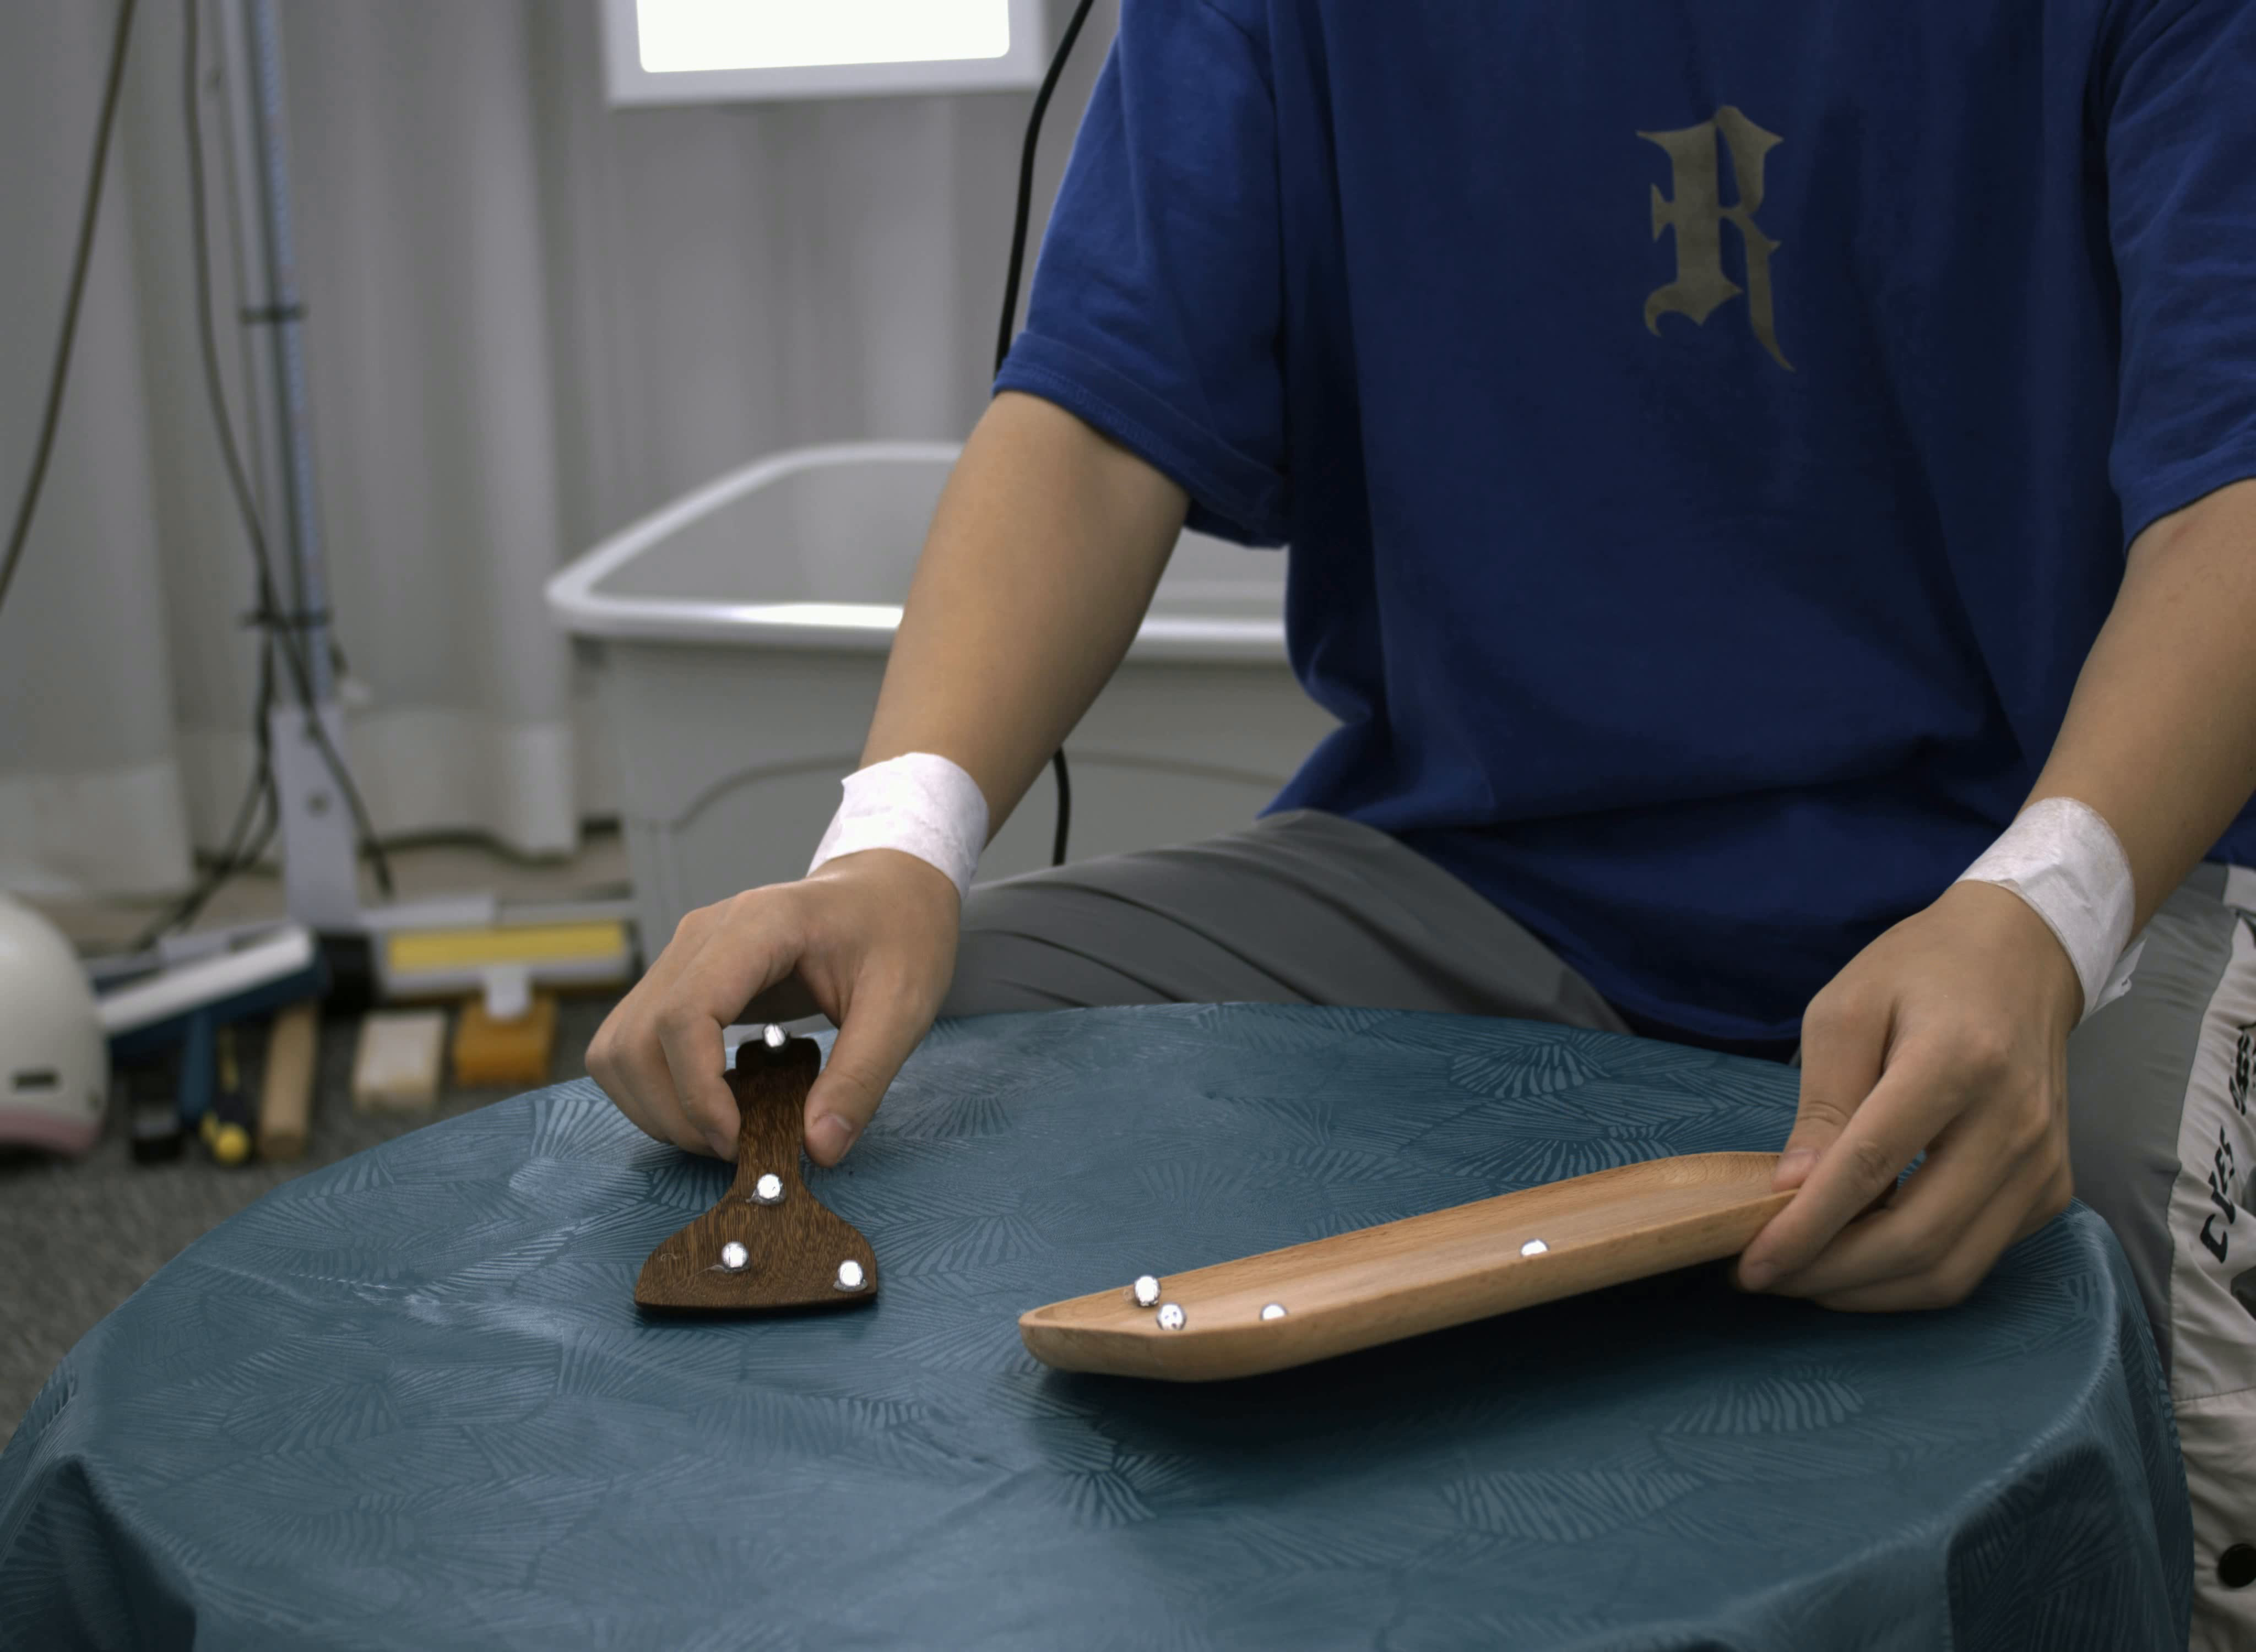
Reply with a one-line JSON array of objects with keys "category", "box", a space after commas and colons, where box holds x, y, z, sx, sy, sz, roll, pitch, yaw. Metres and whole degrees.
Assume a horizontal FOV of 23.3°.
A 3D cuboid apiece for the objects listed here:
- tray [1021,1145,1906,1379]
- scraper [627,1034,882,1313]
[{"category": "tray", "box": [0.098, 0.124, 1.568, 0.249, 0.023, 0.131, -10, 5, -28]}, {"category": "scraper", "box": [-0.113, 0.108, 1.710, 0.075, 0.011, 0.213, -1, 21, -1]}]
